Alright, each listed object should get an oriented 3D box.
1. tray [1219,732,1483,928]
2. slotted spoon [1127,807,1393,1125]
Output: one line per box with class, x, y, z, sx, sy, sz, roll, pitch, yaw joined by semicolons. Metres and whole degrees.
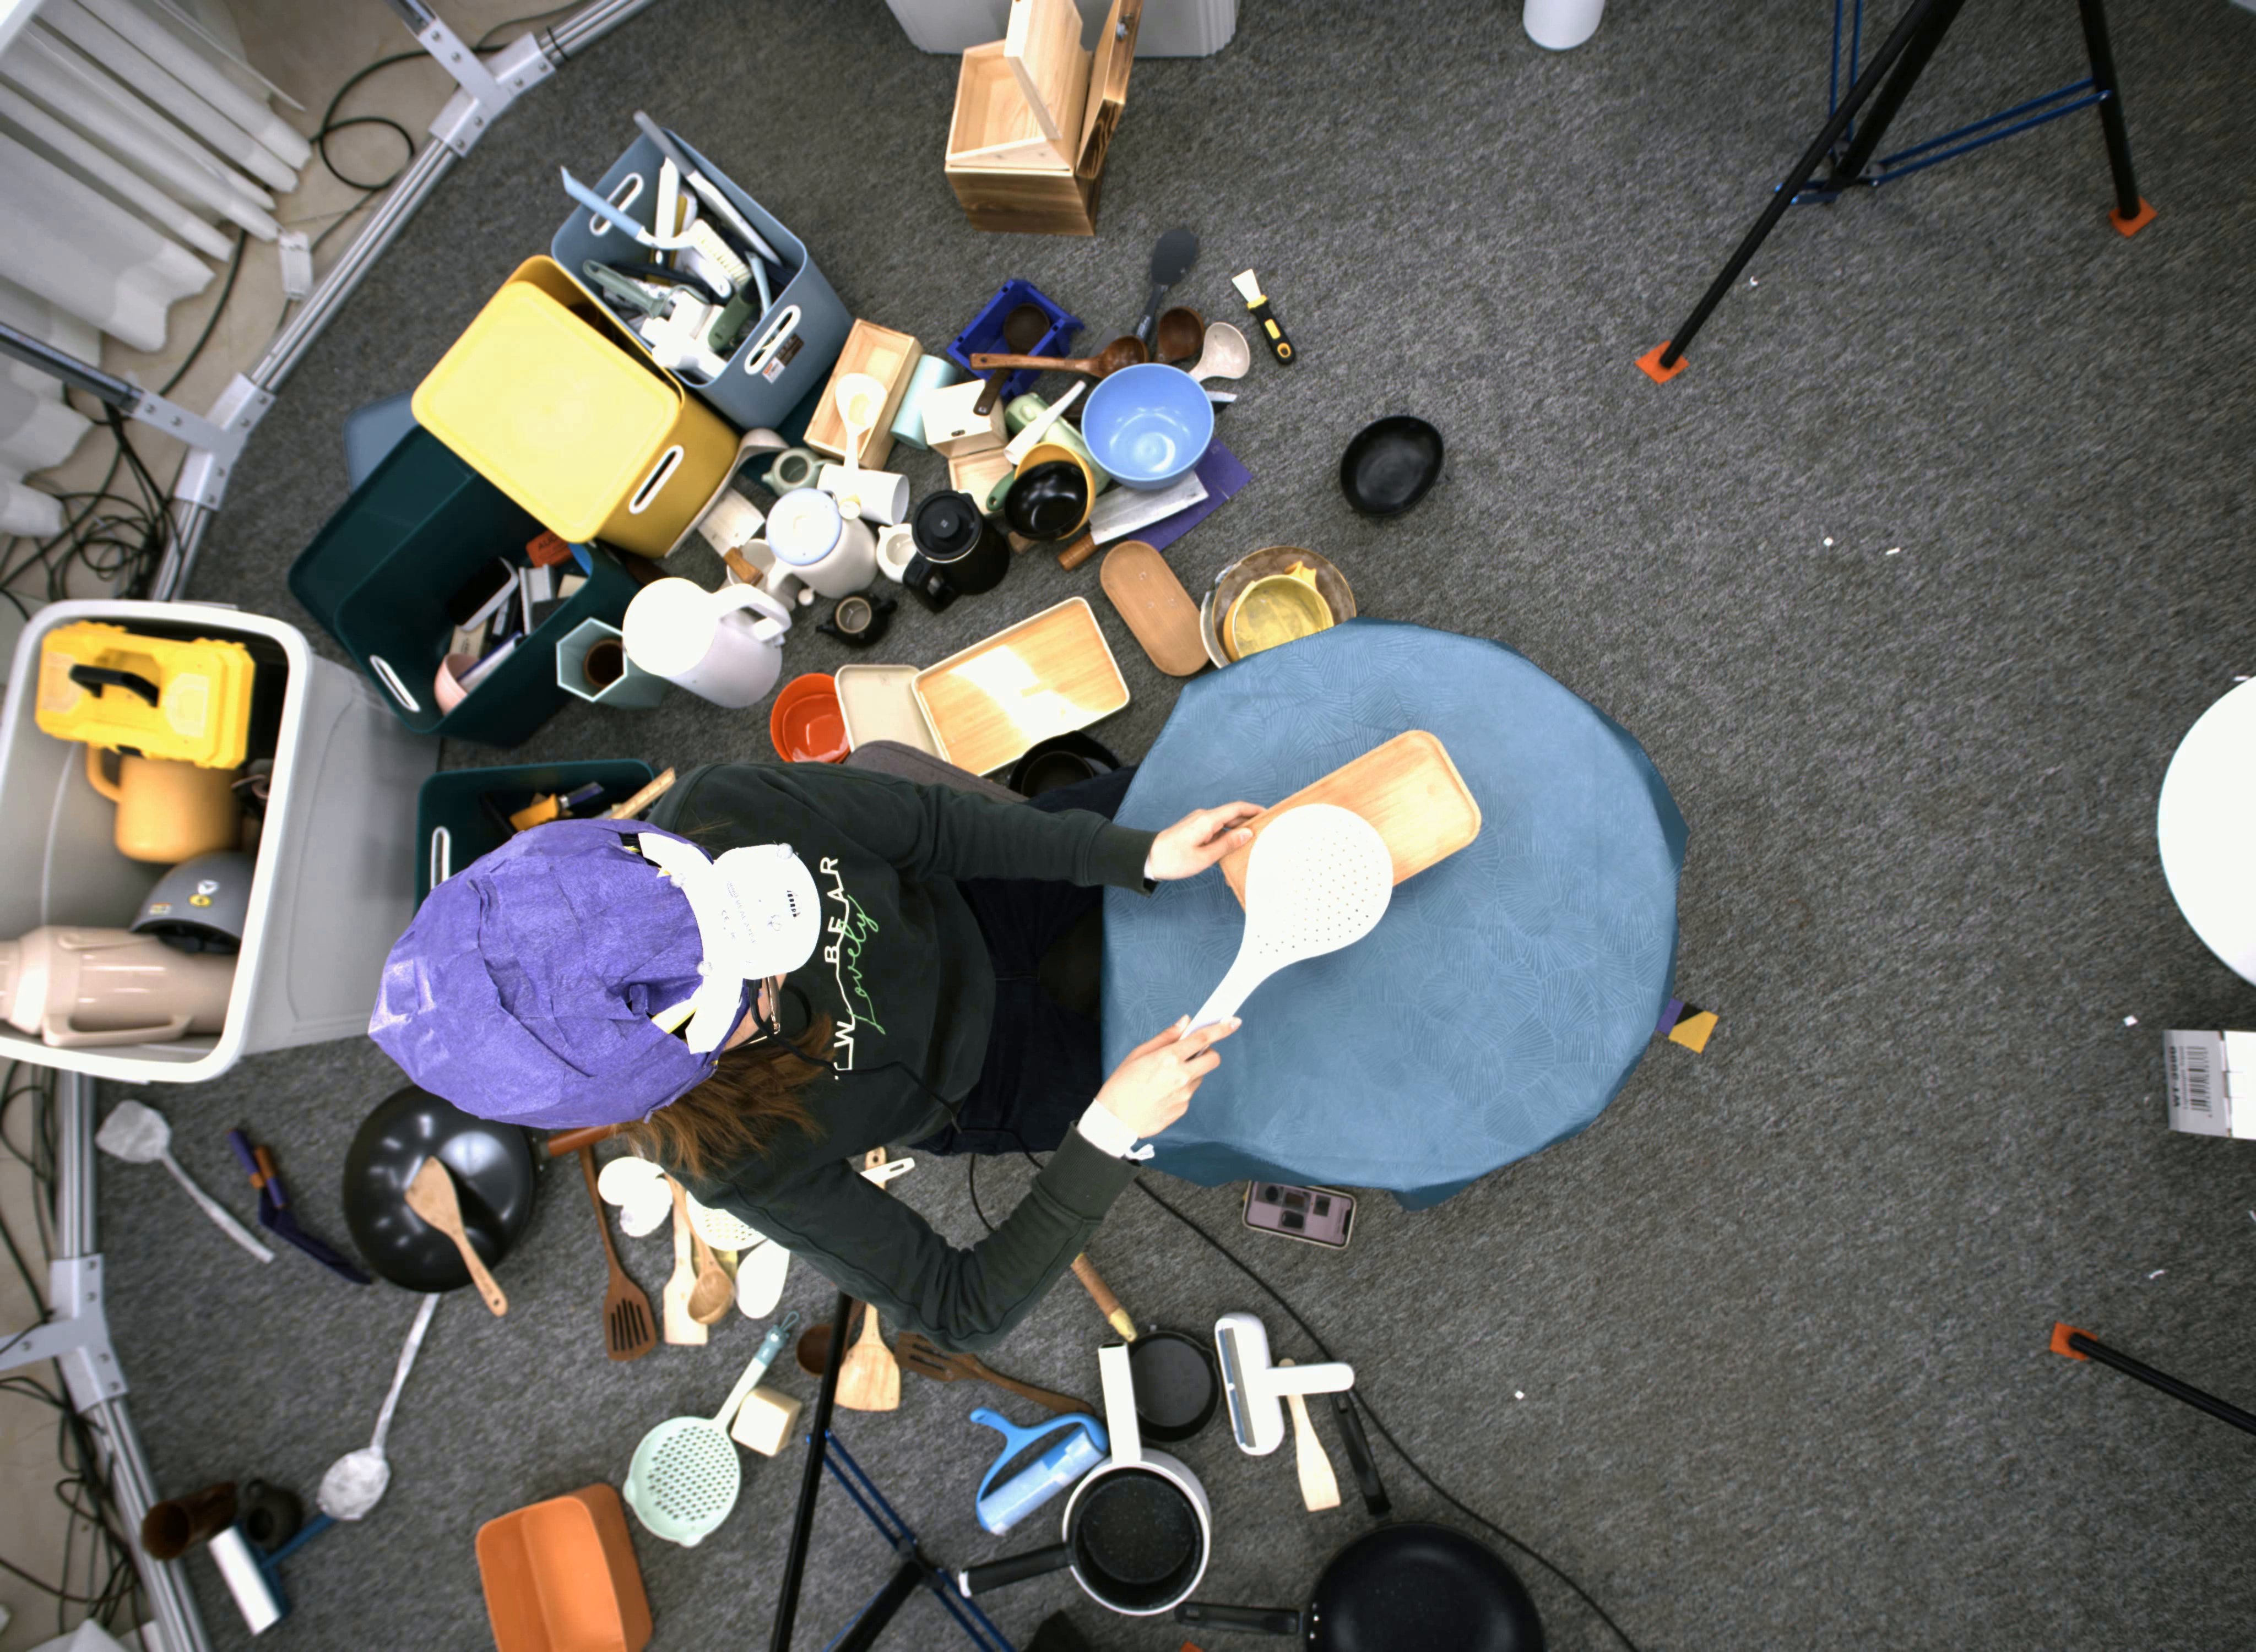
tray;0.219;0.013;1.370;0.253;0.023;0.129;-30;80;13
slotted spoon;0.116;0.134;1.299;0.136;0.046;0.346;38;80;2
